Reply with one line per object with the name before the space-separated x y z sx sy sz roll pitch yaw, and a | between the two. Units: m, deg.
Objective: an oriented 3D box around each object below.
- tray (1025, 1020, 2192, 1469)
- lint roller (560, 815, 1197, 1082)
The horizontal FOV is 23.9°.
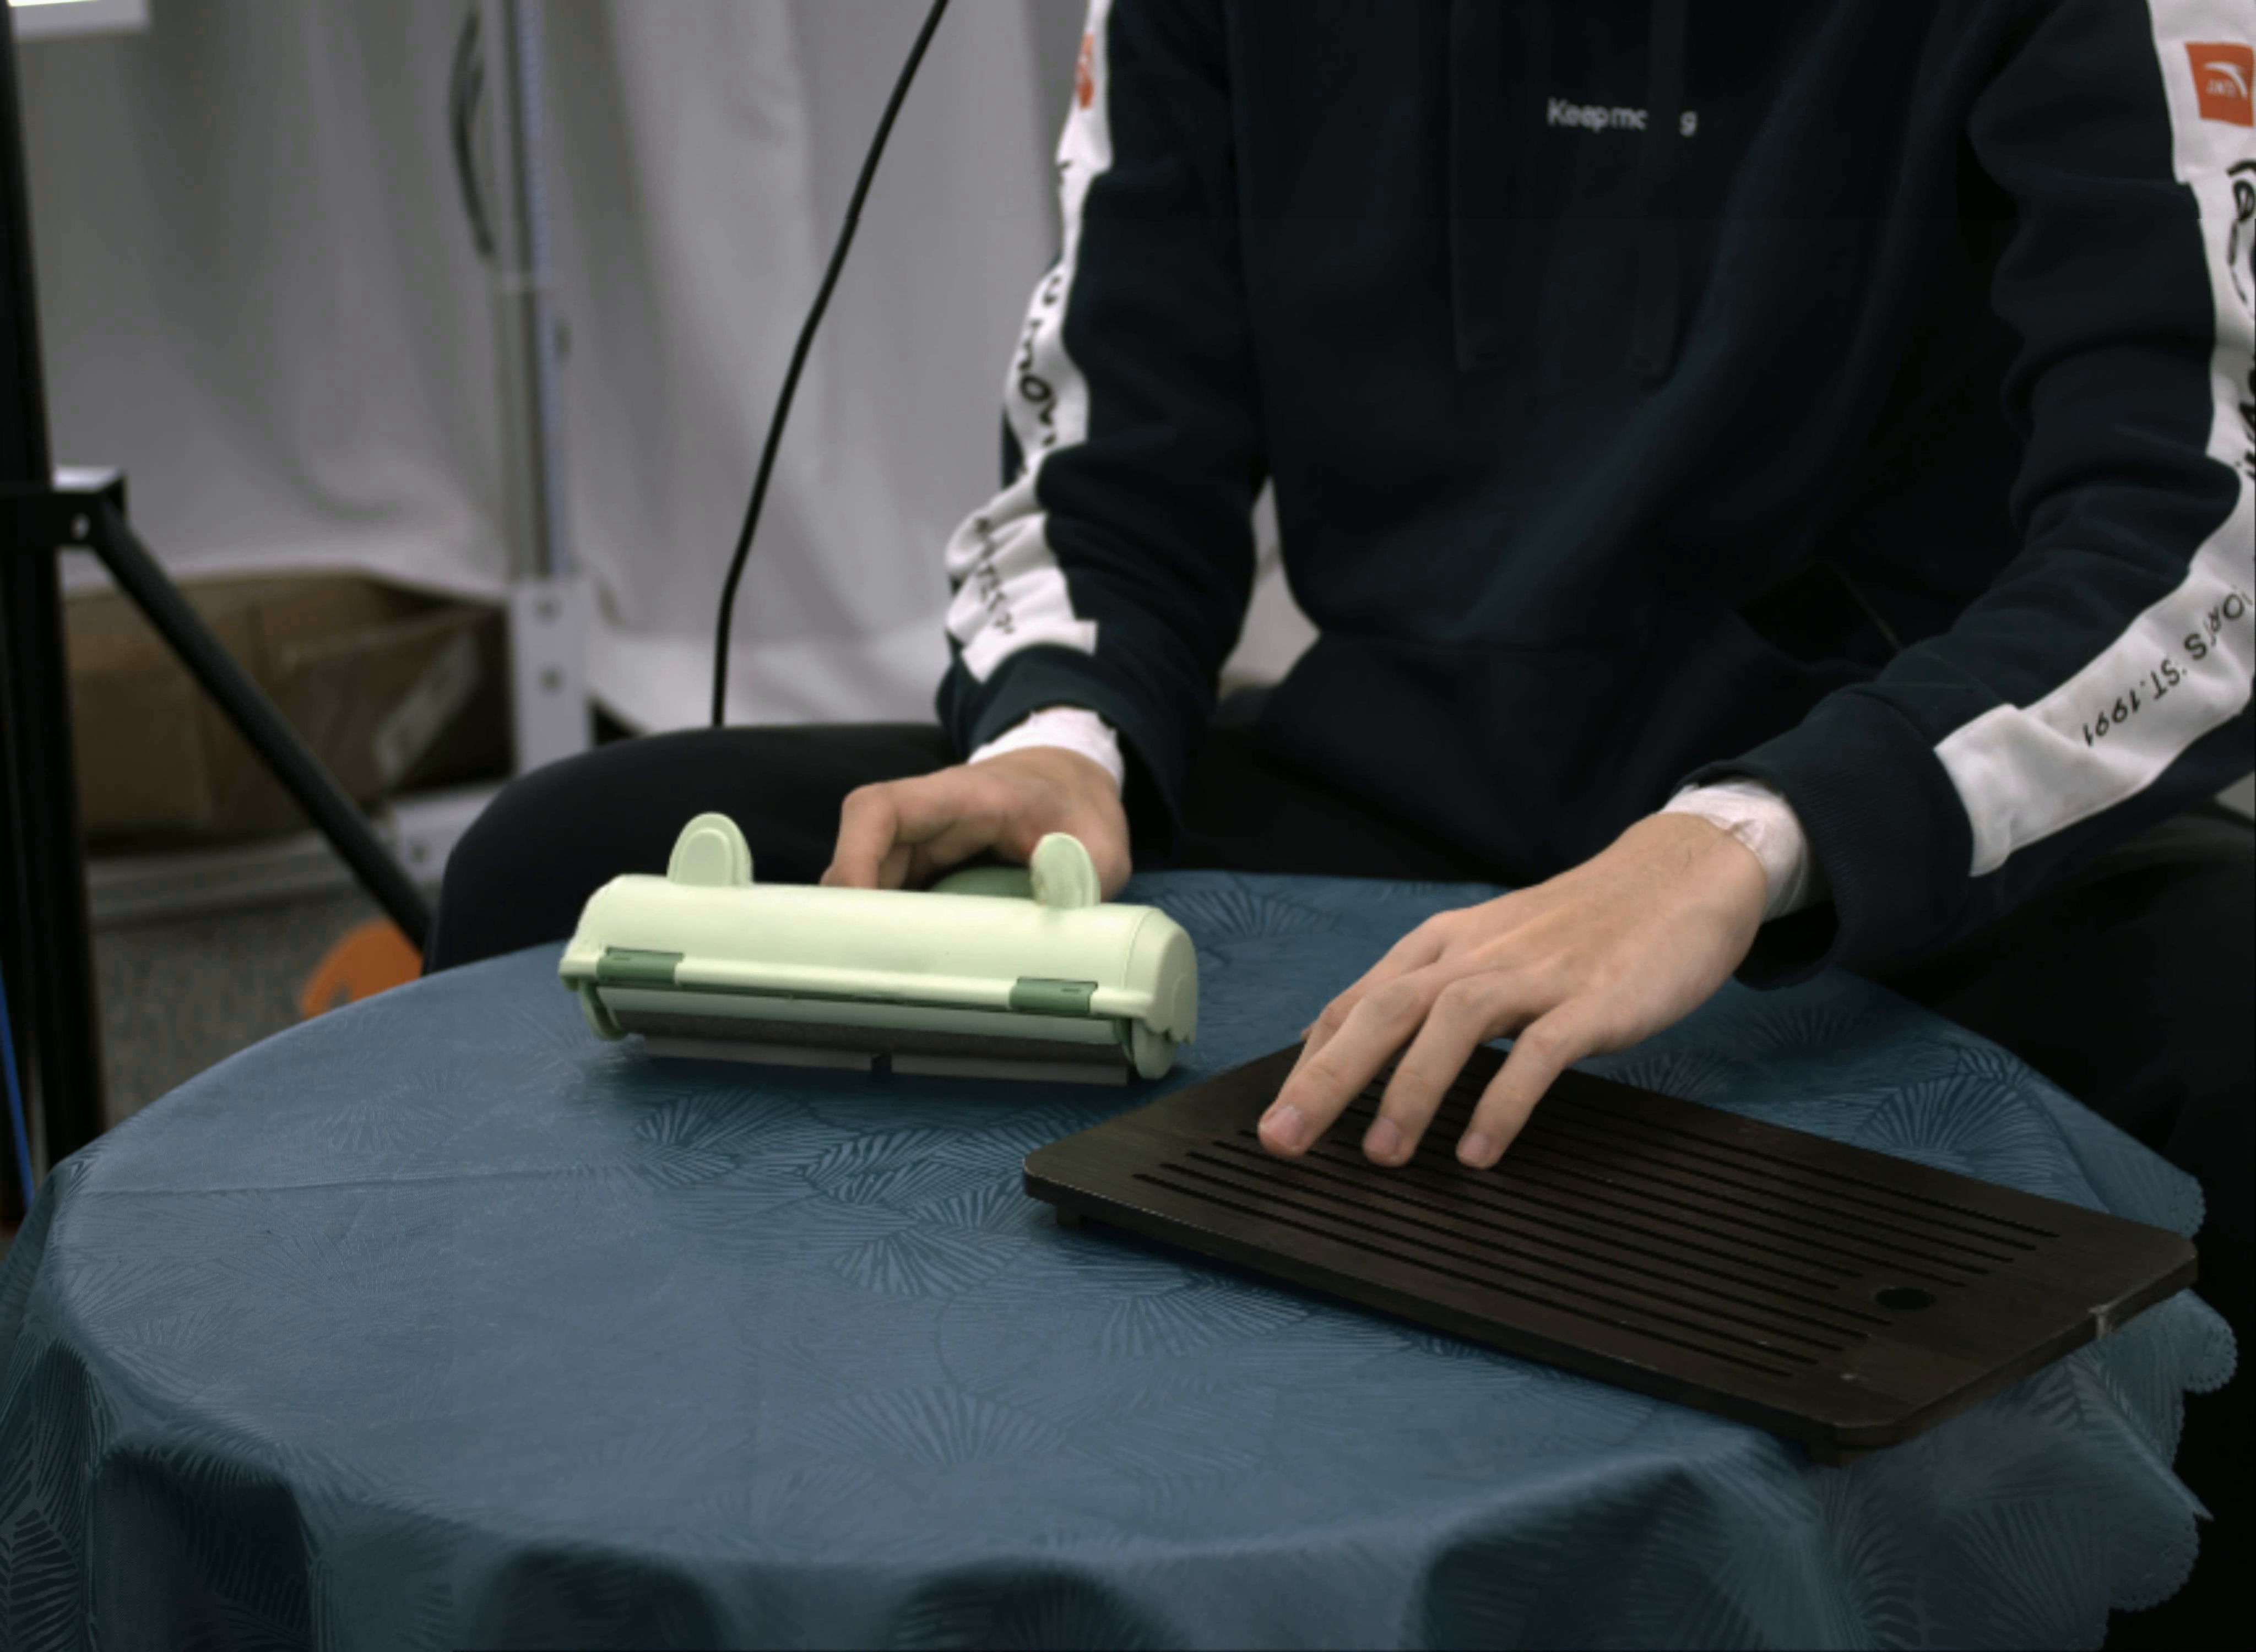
tray | 0.134 0.114 1.495 0.313 0.018 0.166 14 23 41
lint roller | -0.061 0.023 1.720 0.201 0.082 0.181 3 20 19
